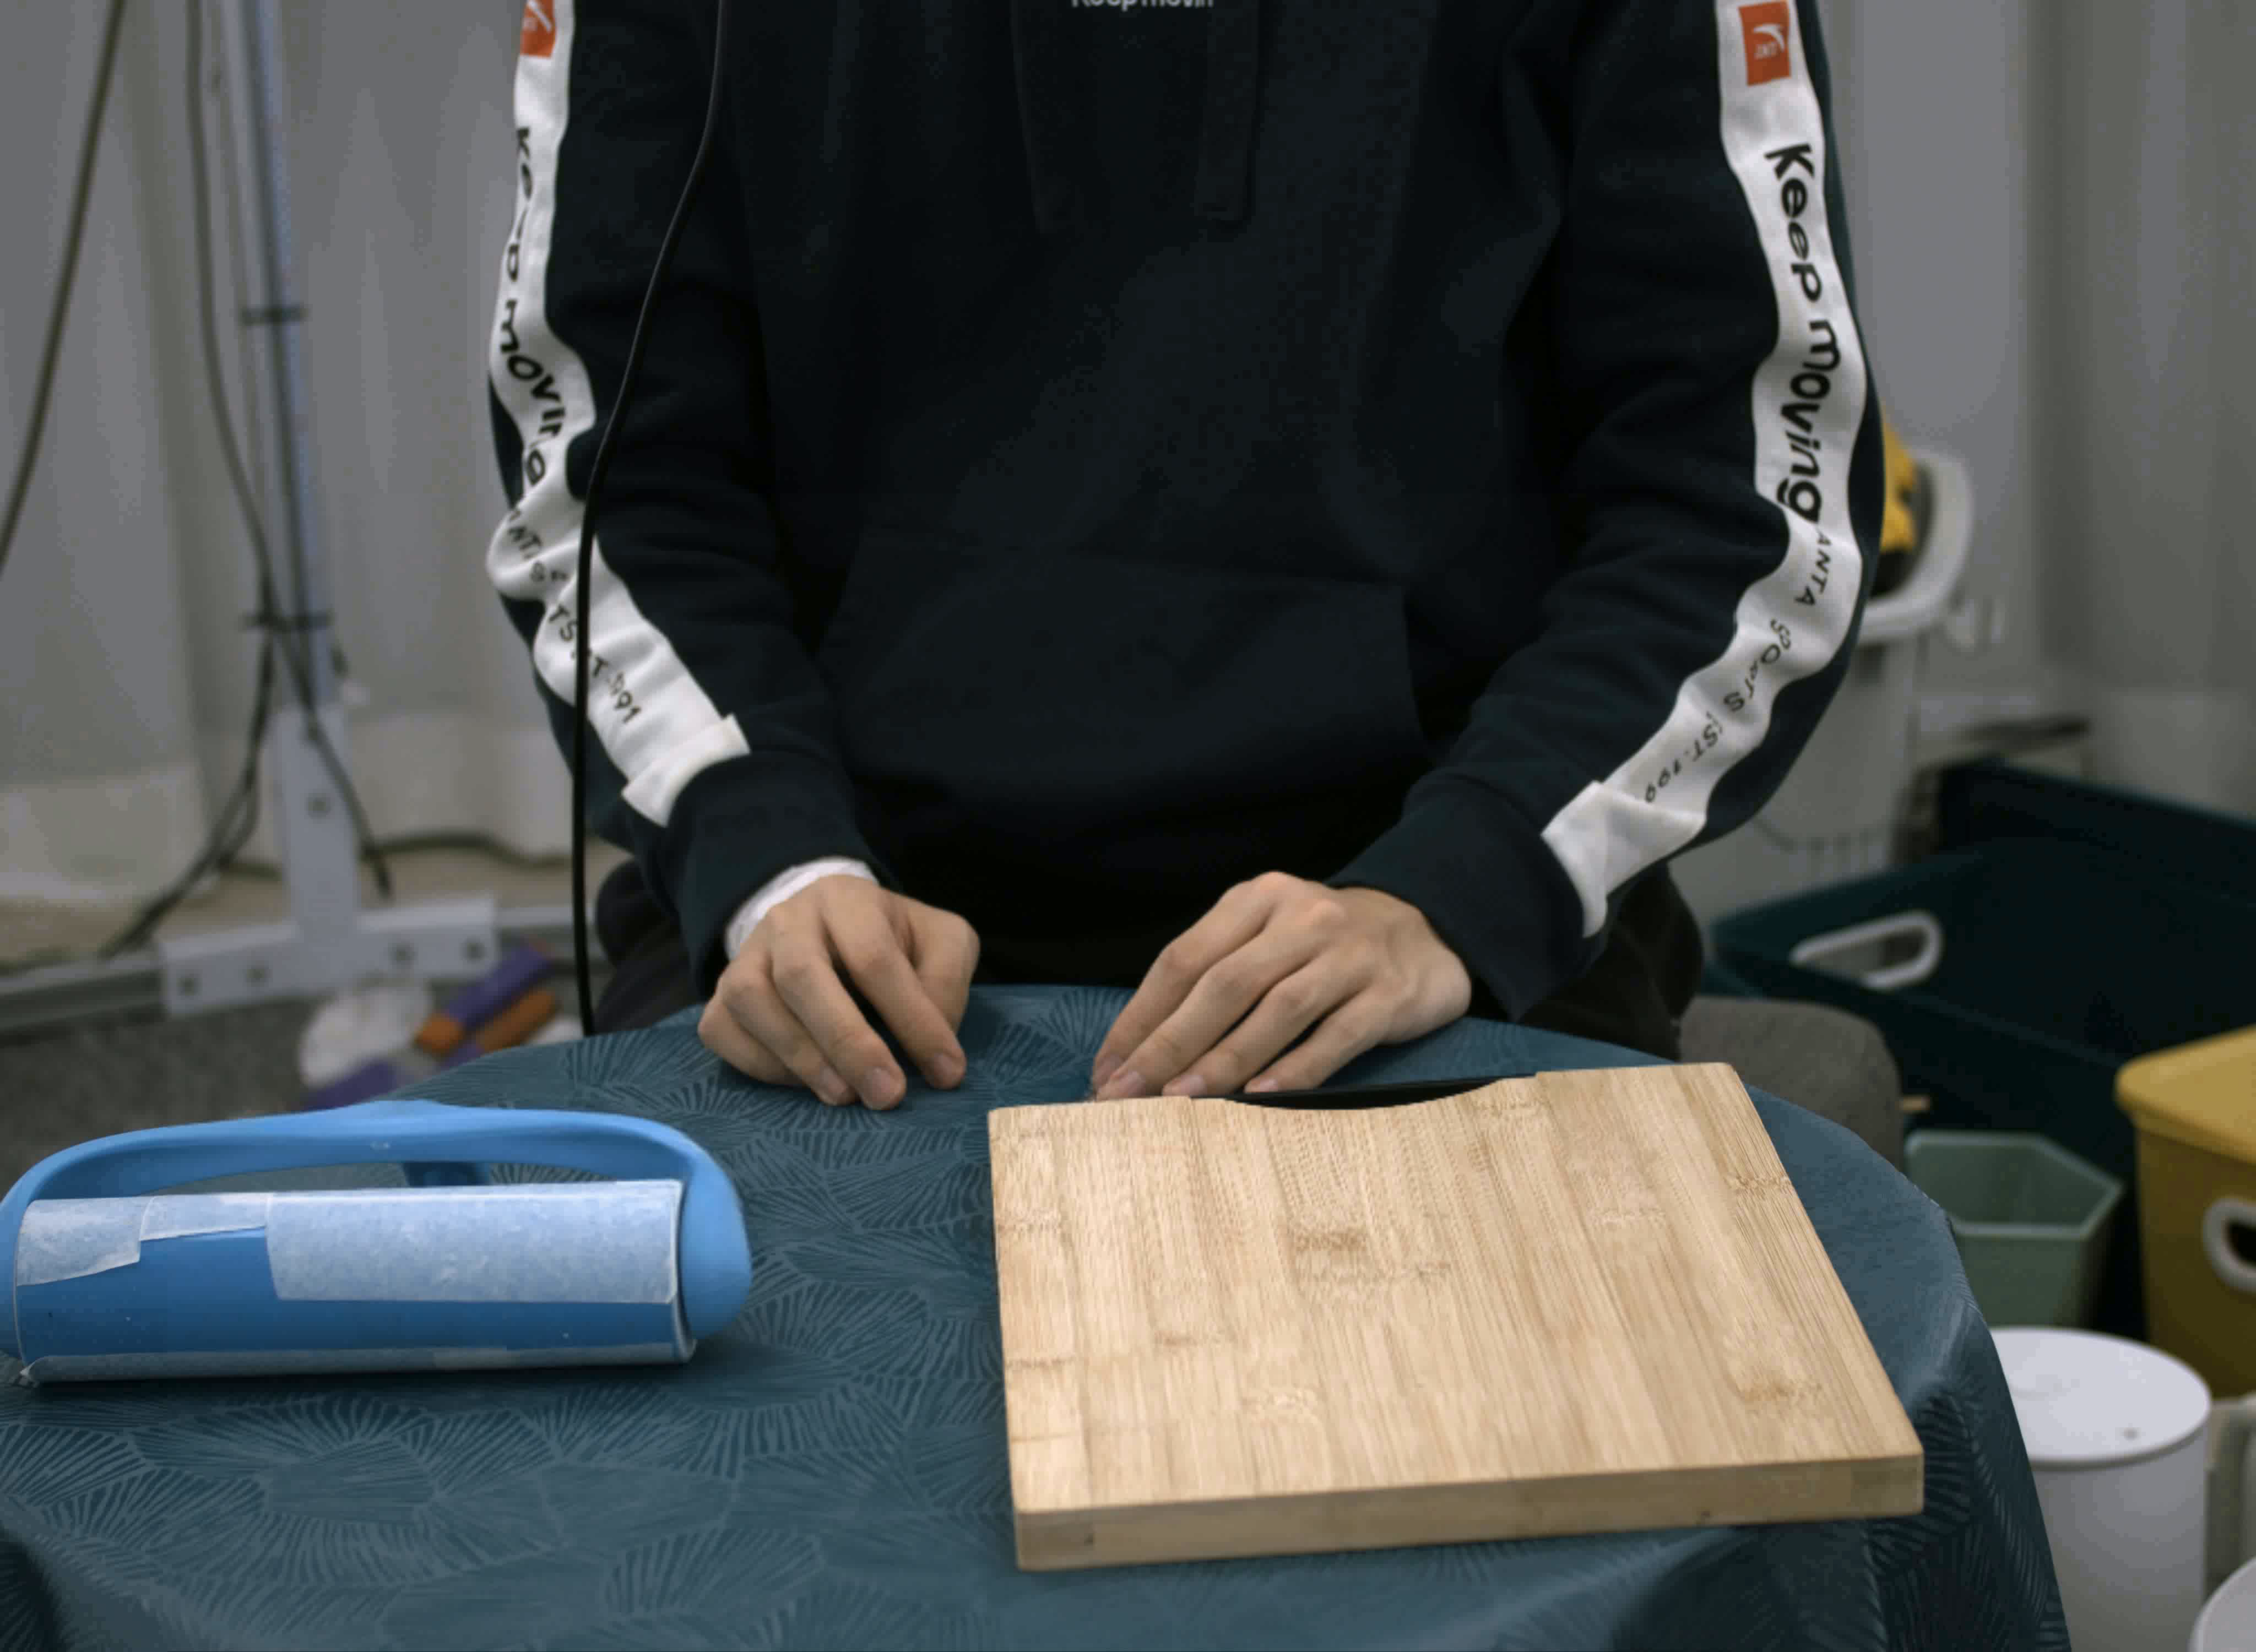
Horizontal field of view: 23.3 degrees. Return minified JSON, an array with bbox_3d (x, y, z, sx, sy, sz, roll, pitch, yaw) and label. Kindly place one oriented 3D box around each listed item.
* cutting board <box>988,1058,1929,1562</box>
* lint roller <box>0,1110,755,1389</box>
[{"bbox_3d":[0.082,0.135,1.590,0.250,0.023,0.351,-4,15,-2],"label":"cutting board"},{"bbox_3d":[-0.222,0.116,1.644,0.228,0.067,0.181,-4,15,1],"label":"lint roller"}]
